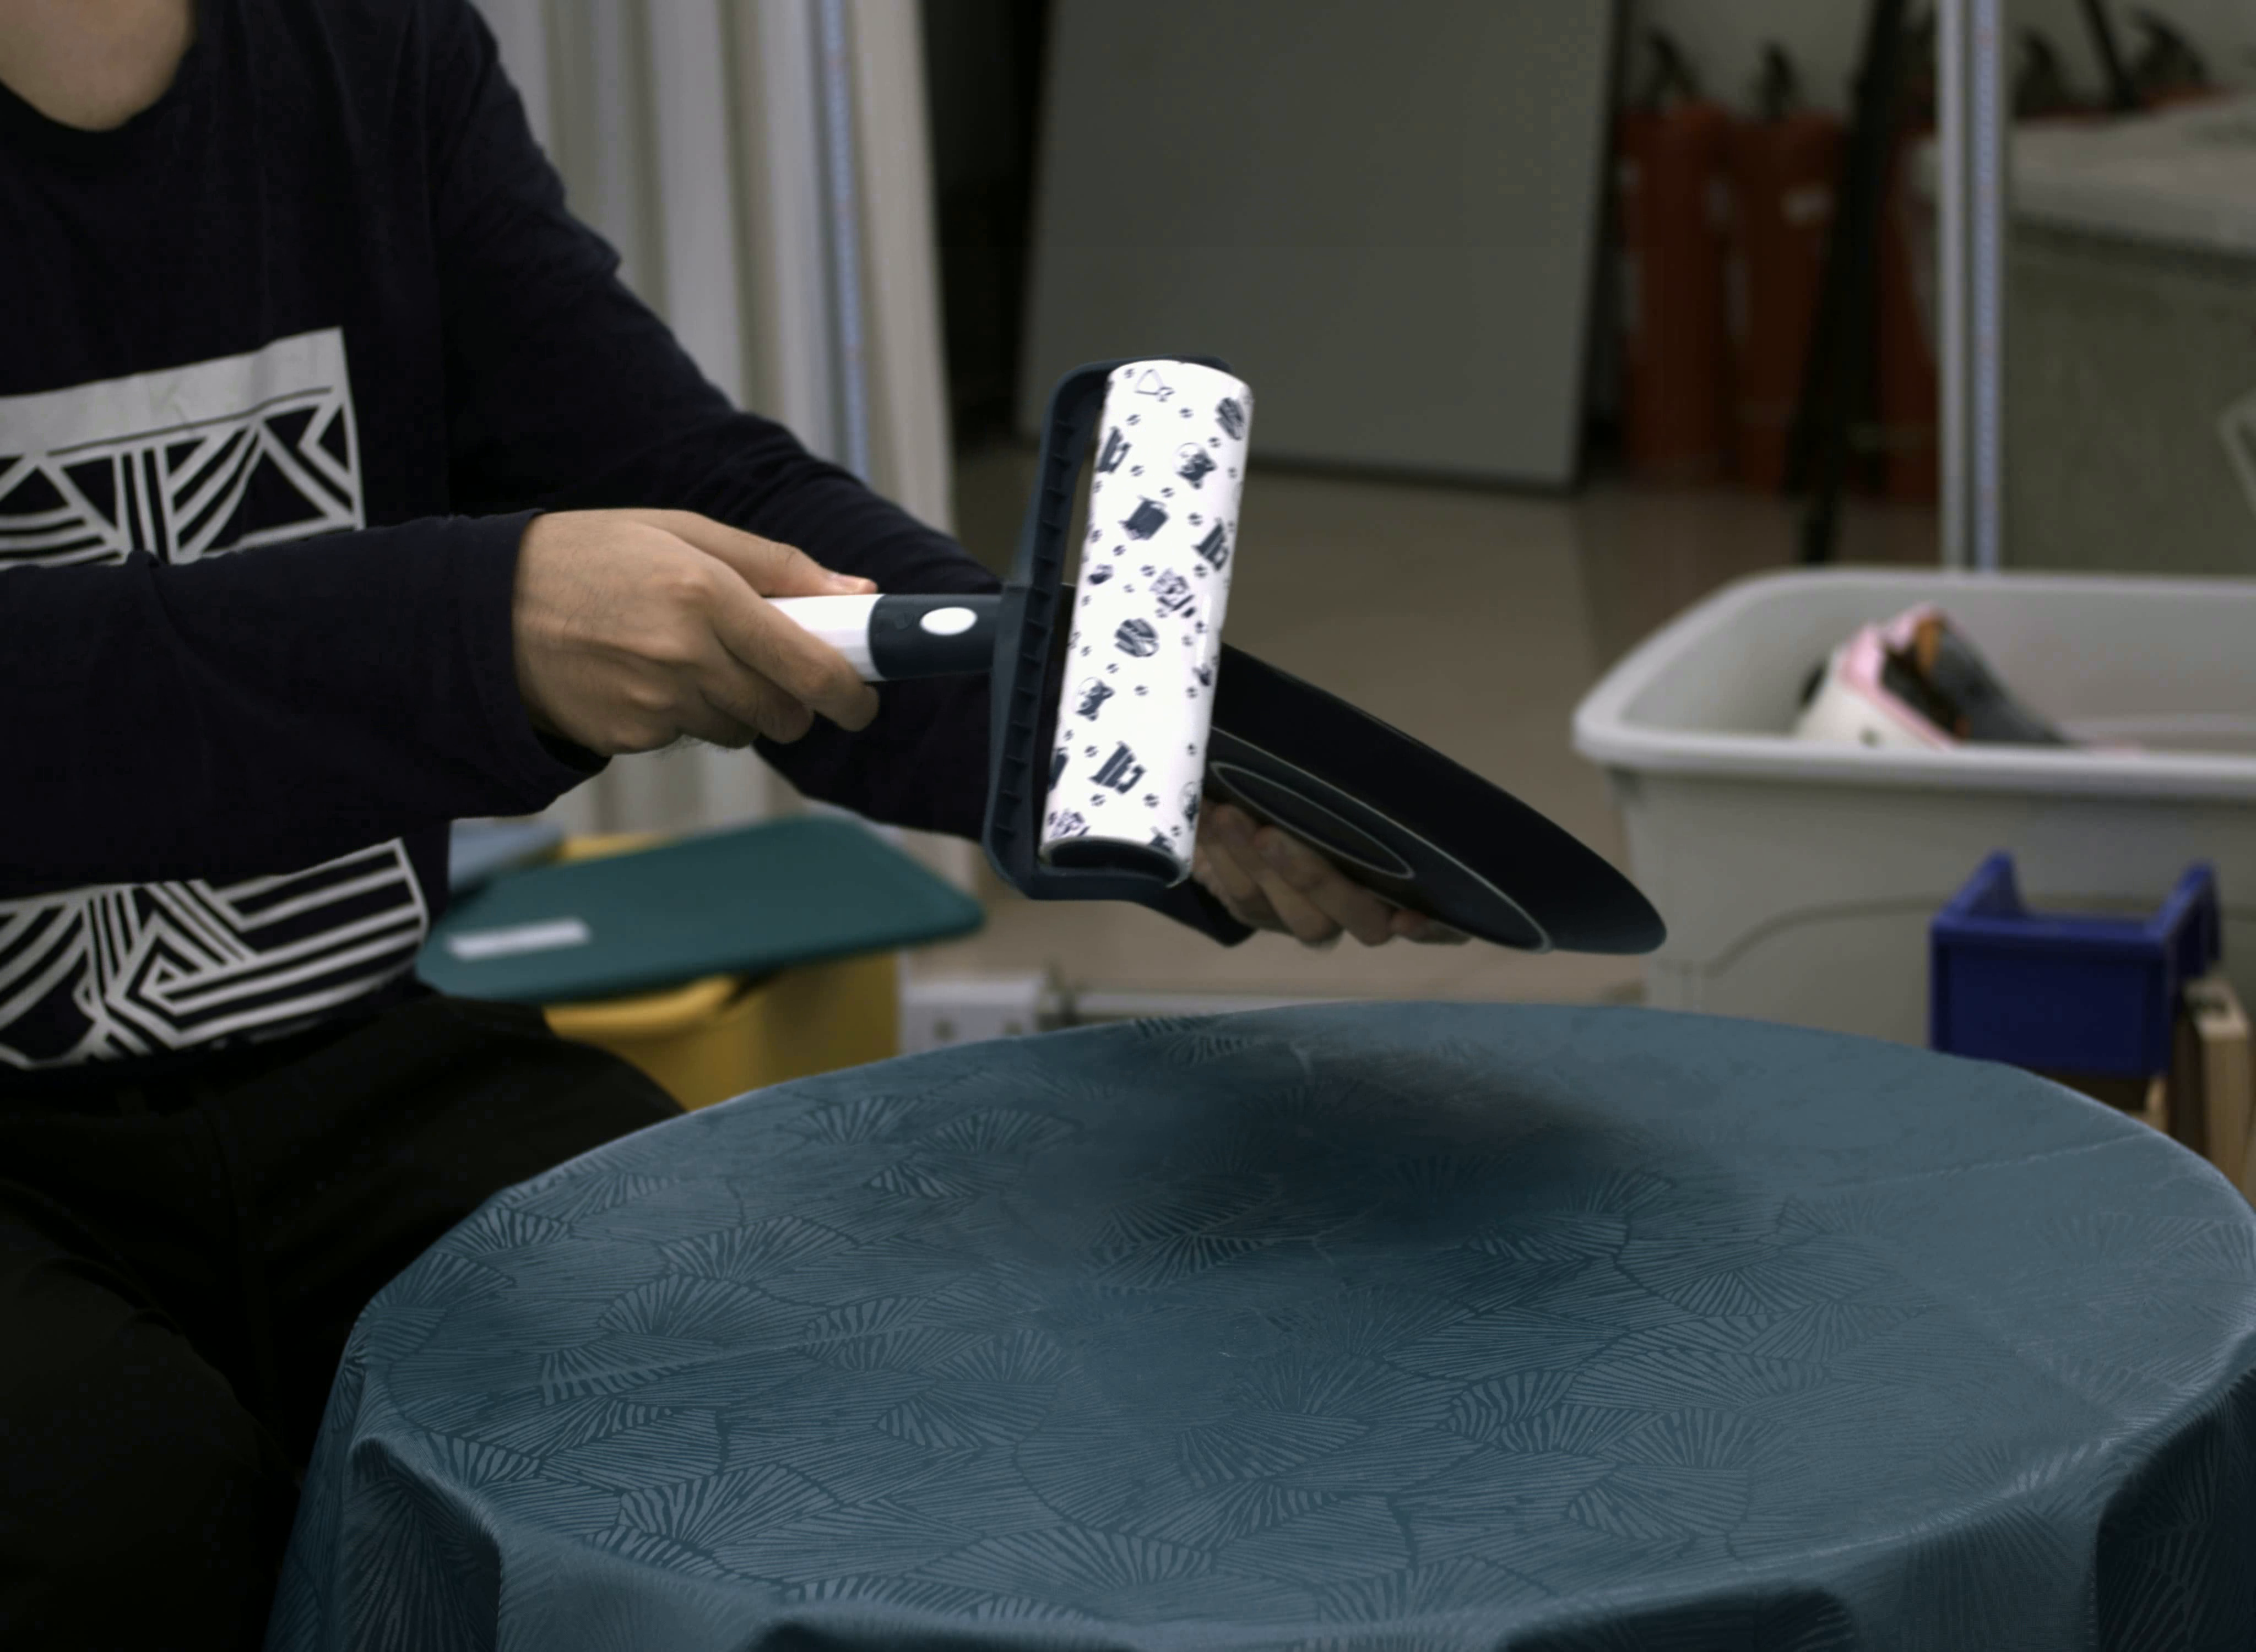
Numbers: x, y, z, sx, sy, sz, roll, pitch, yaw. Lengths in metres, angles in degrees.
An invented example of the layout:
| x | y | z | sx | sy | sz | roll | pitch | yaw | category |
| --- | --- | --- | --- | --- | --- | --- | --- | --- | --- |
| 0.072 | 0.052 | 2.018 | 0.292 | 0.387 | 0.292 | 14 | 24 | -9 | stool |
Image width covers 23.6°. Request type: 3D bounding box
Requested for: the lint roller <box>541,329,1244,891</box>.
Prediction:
| x | y | z | sx | sy | sz | roll | pitch | yaw | category |
| --- | --- | --- | --- | --- | --- | --- | --- | --- | --- |
| -0.084 | -0.061 | 1.704 | 0.247 | 0.178 | 0.049 | -3 | -22 | 27 | lint roller |

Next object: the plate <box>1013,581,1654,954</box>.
| x | y | z | sx | sy | sz | roll | pitch | yaw | category |
| --- | --- | --- | --- | --- | --- | --- | --- | --- | --- |
| 0.063 | -0.012 | 1.780 | 0.243 | 0.023 | 0.244 | 29 | -8 | 3 | plate |
